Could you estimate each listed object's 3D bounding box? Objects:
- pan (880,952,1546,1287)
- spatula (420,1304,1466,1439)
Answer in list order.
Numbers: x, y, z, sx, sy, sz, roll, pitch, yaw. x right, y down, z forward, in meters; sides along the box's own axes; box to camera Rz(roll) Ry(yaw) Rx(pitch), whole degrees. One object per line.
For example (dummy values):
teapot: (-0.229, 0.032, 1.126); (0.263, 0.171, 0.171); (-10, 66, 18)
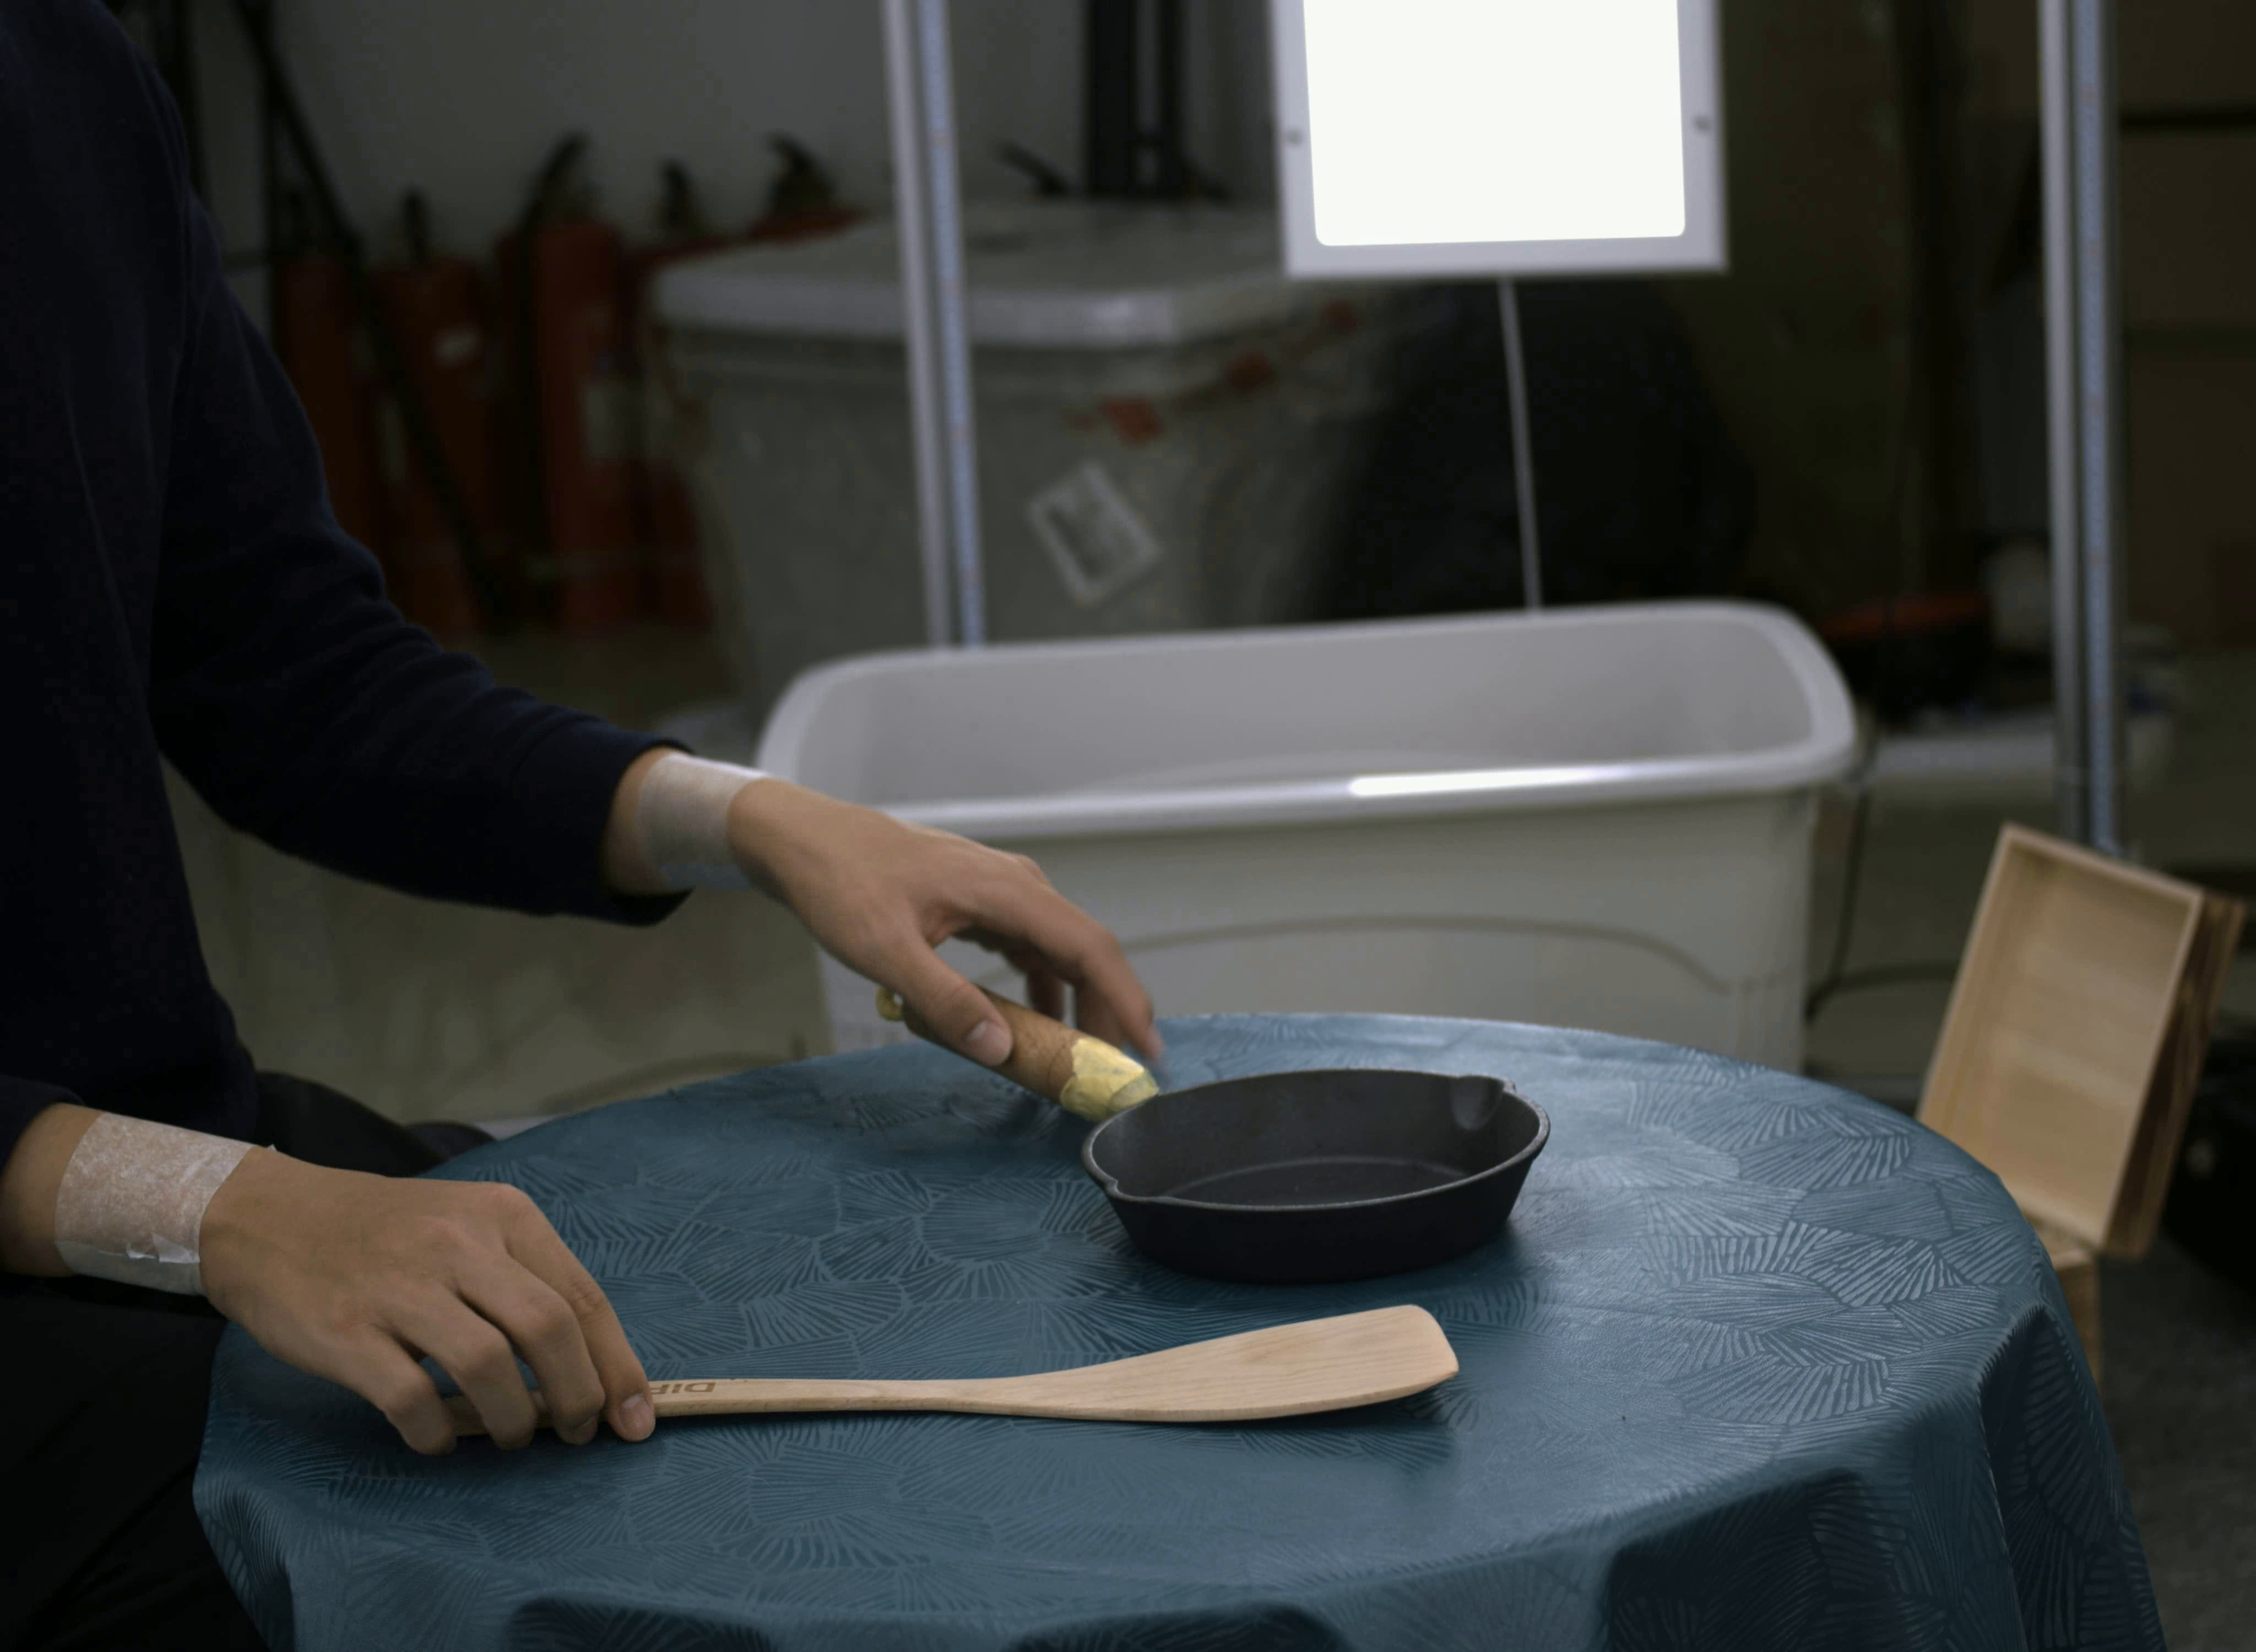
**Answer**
pan: (0.013, 0.097, 1.906); (0.165, 0.050, 0.330); (-14, 18, -33)
spatula: (-0.058, 0.171, 1.702); (0.328, 0.016, 0.079); (-3, 13, 7)
